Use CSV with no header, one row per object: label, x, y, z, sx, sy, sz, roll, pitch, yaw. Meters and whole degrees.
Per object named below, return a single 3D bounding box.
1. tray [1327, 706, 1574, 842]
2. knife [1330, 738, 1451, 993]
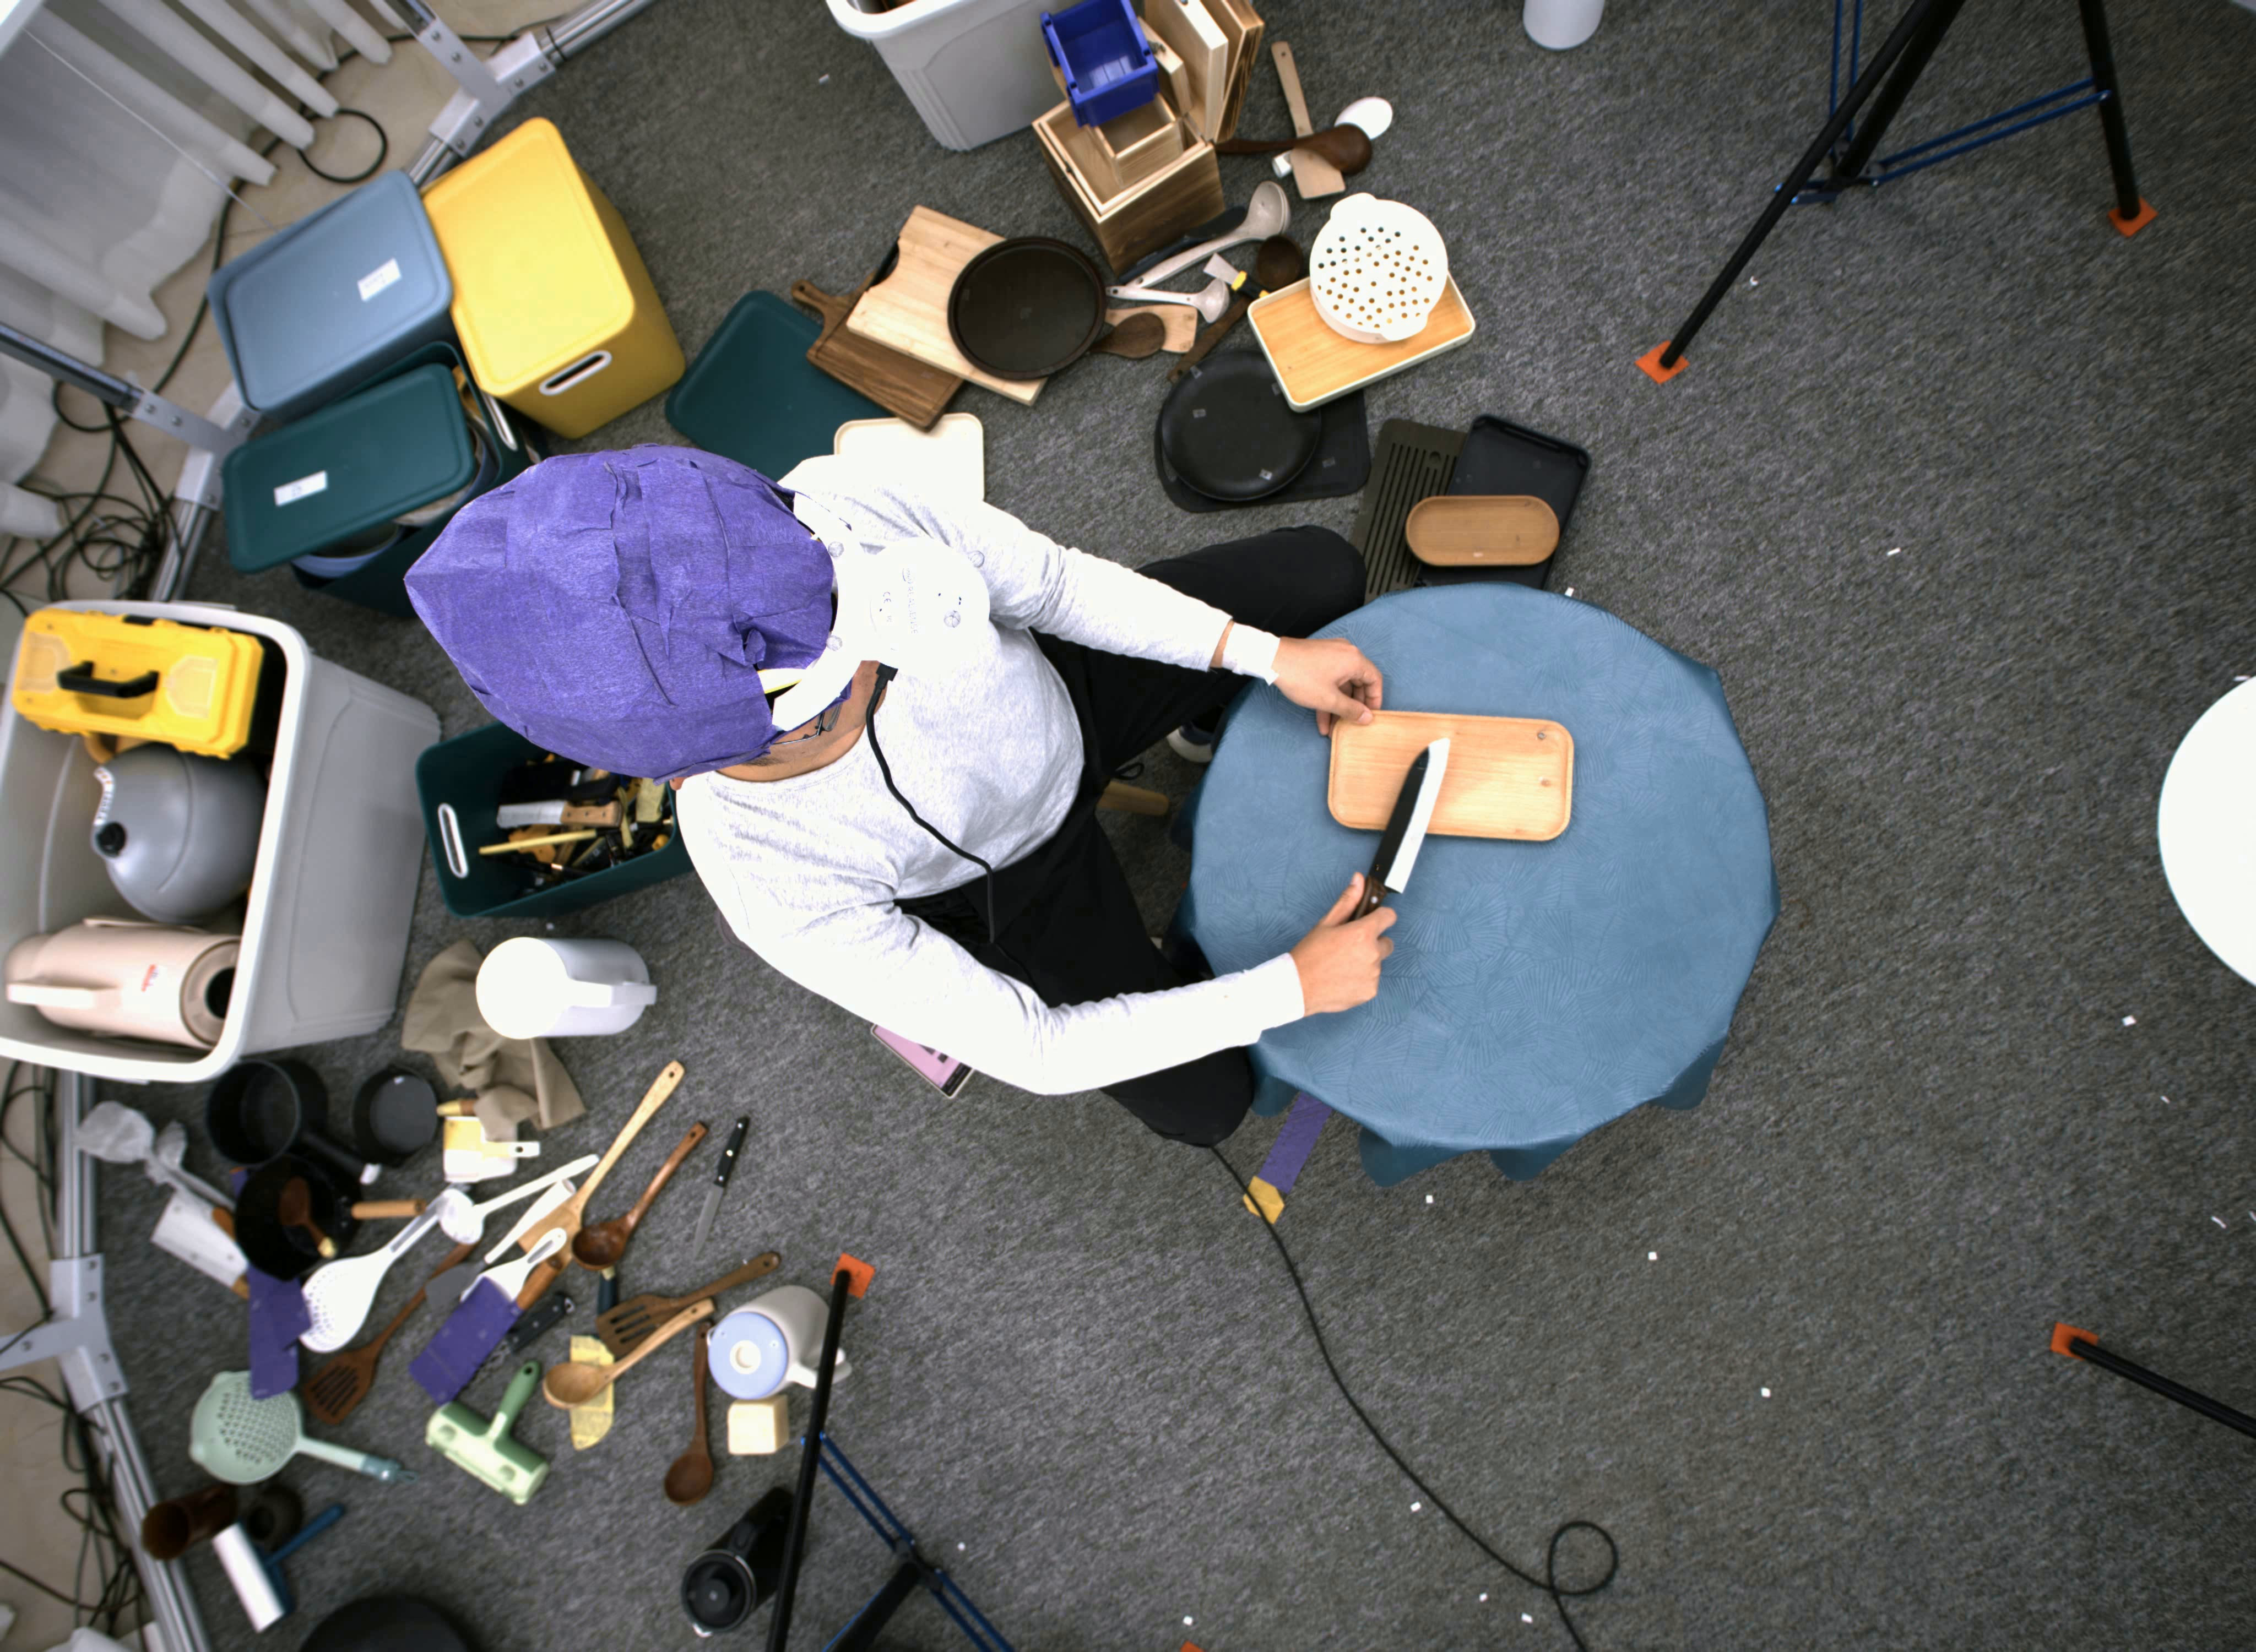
tray,0.336,-0.056,1.441,0.251,0.023,0.130,5,86,9
knife,0.271,0.039,1.412,0.050,0.020,0.288,24,89,-21
